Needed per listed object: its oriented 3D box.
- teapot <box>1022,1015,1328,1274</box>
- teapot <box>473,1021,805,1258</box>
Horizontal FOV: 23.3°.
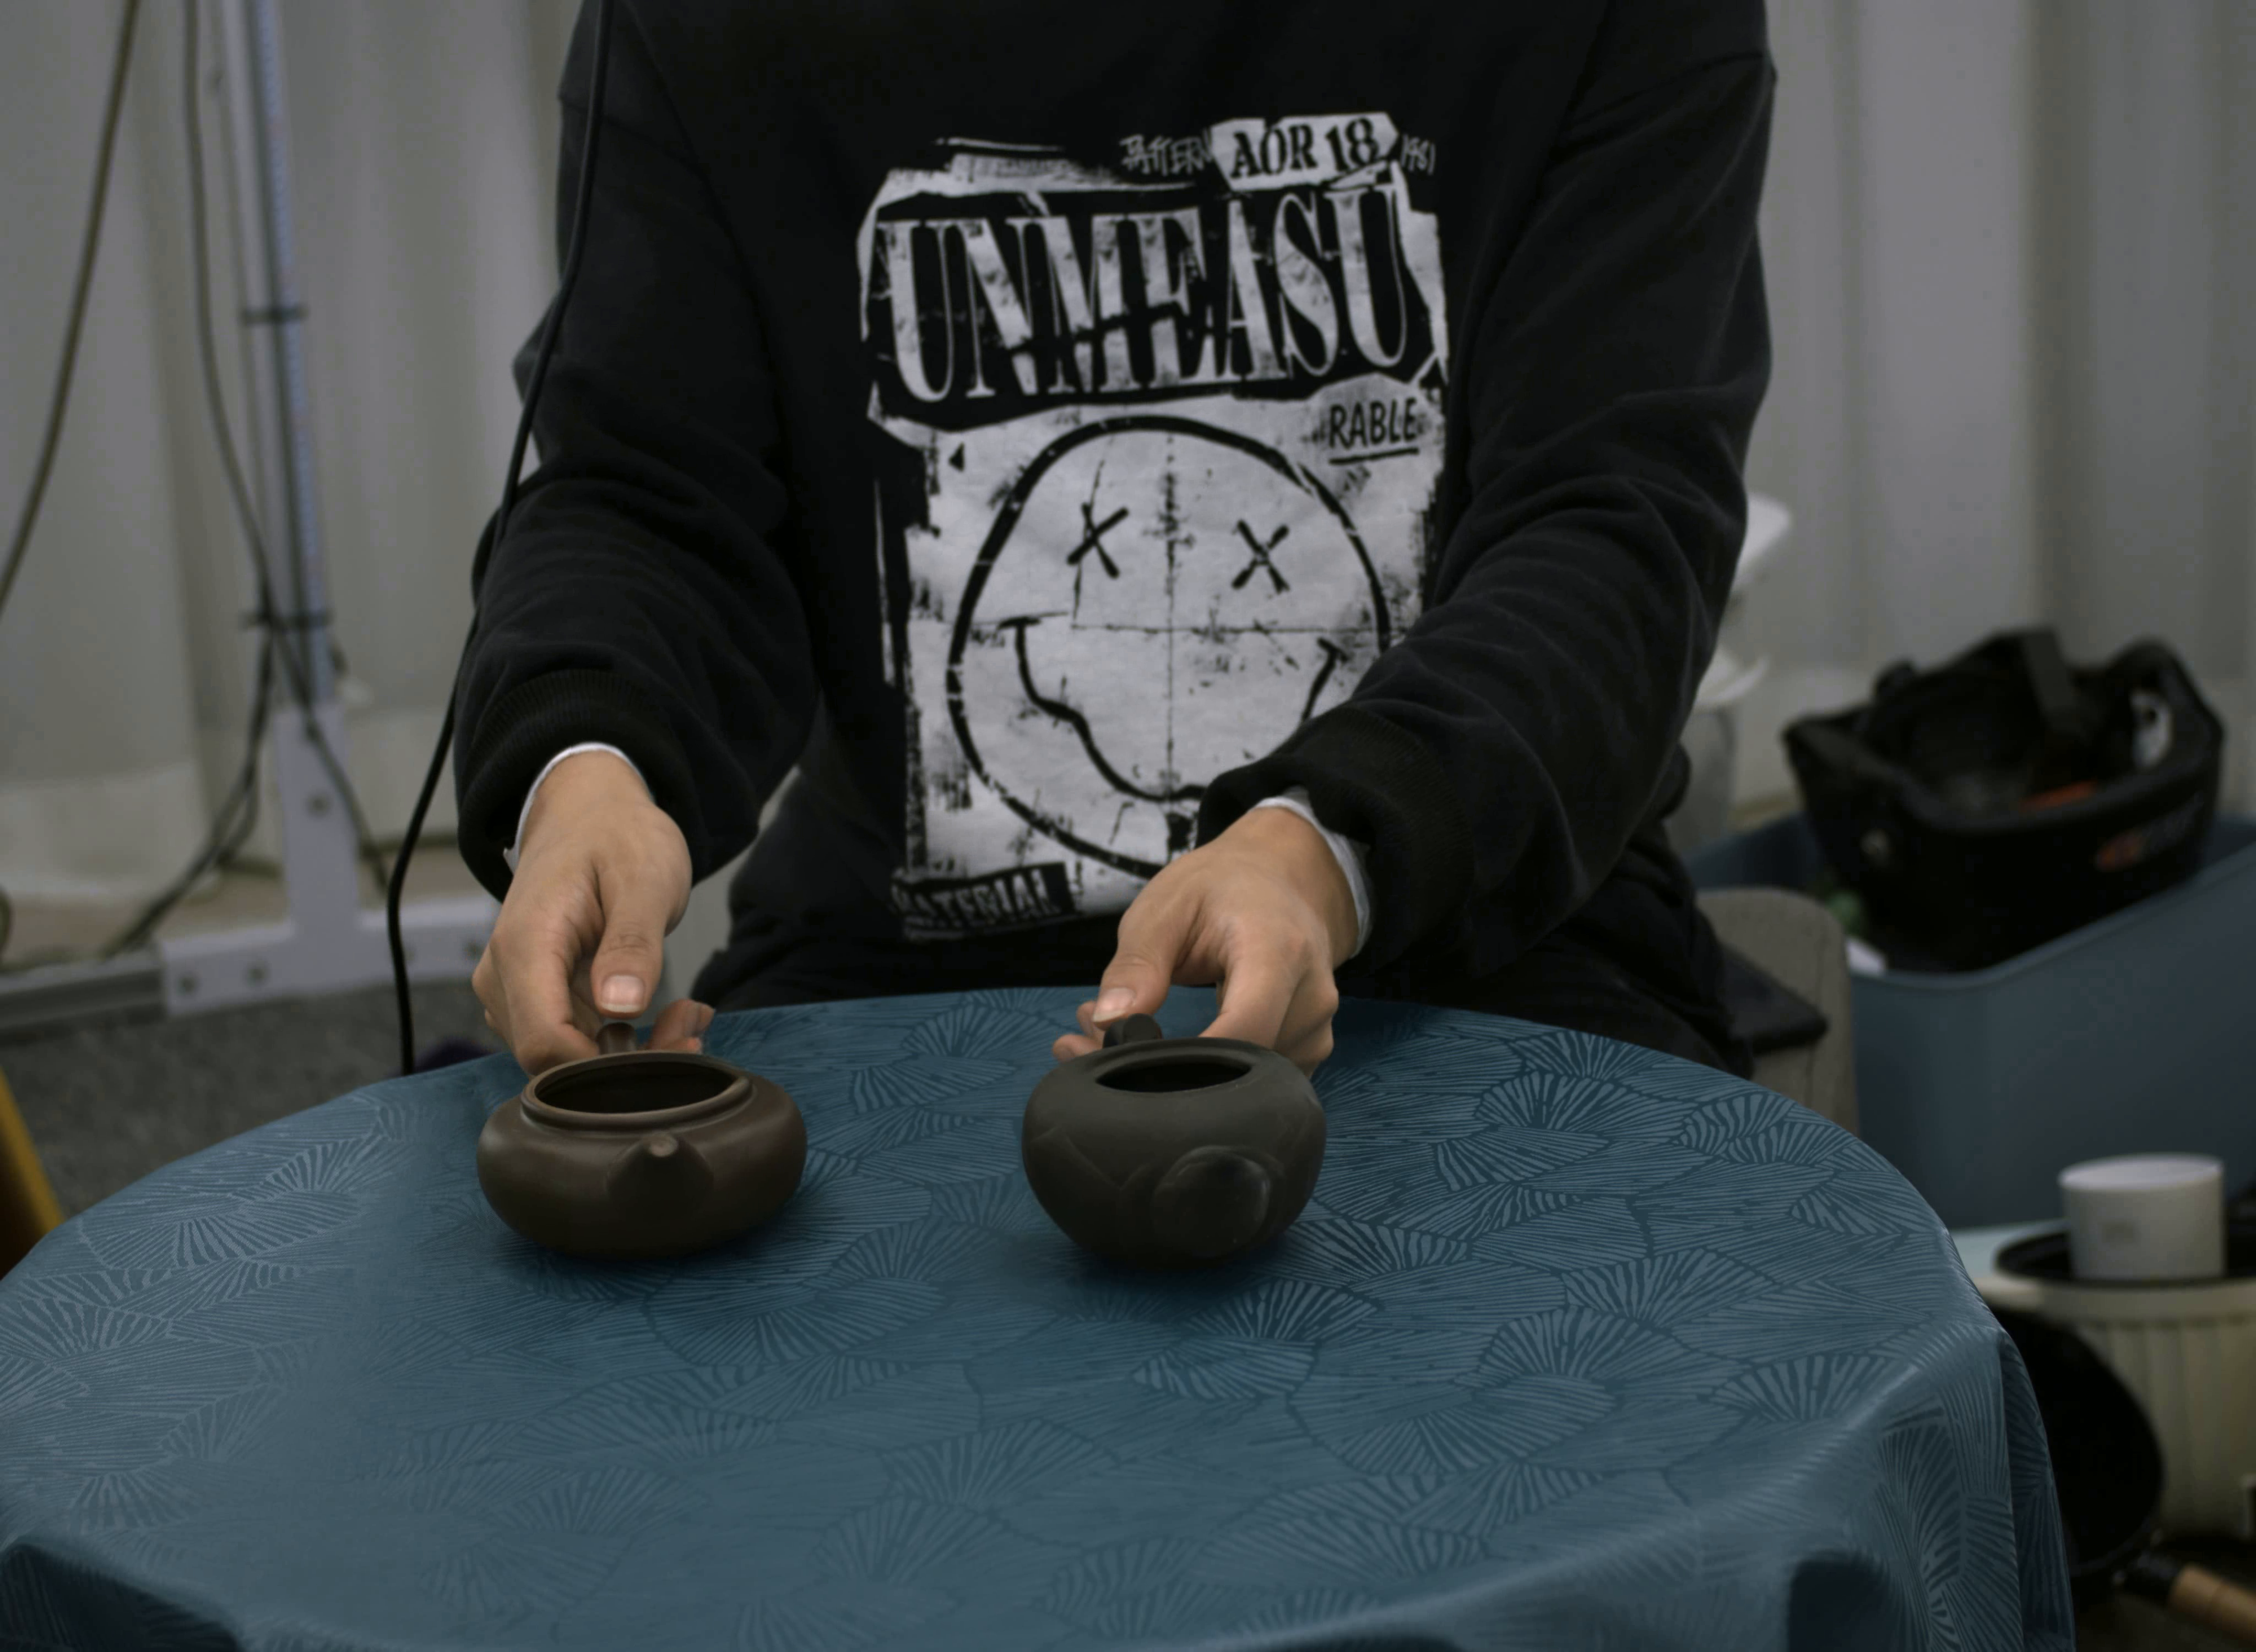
[{"bbox_3d":[0.013,0.097,1.656,0.092,0.064,0.155,-4,15,-12],"label":"teapot"},{"bbox_3d":[-0.153,0.099,1.699,0.102,0.053,0.155,-5,15,-17],"label":"teapot"}]
